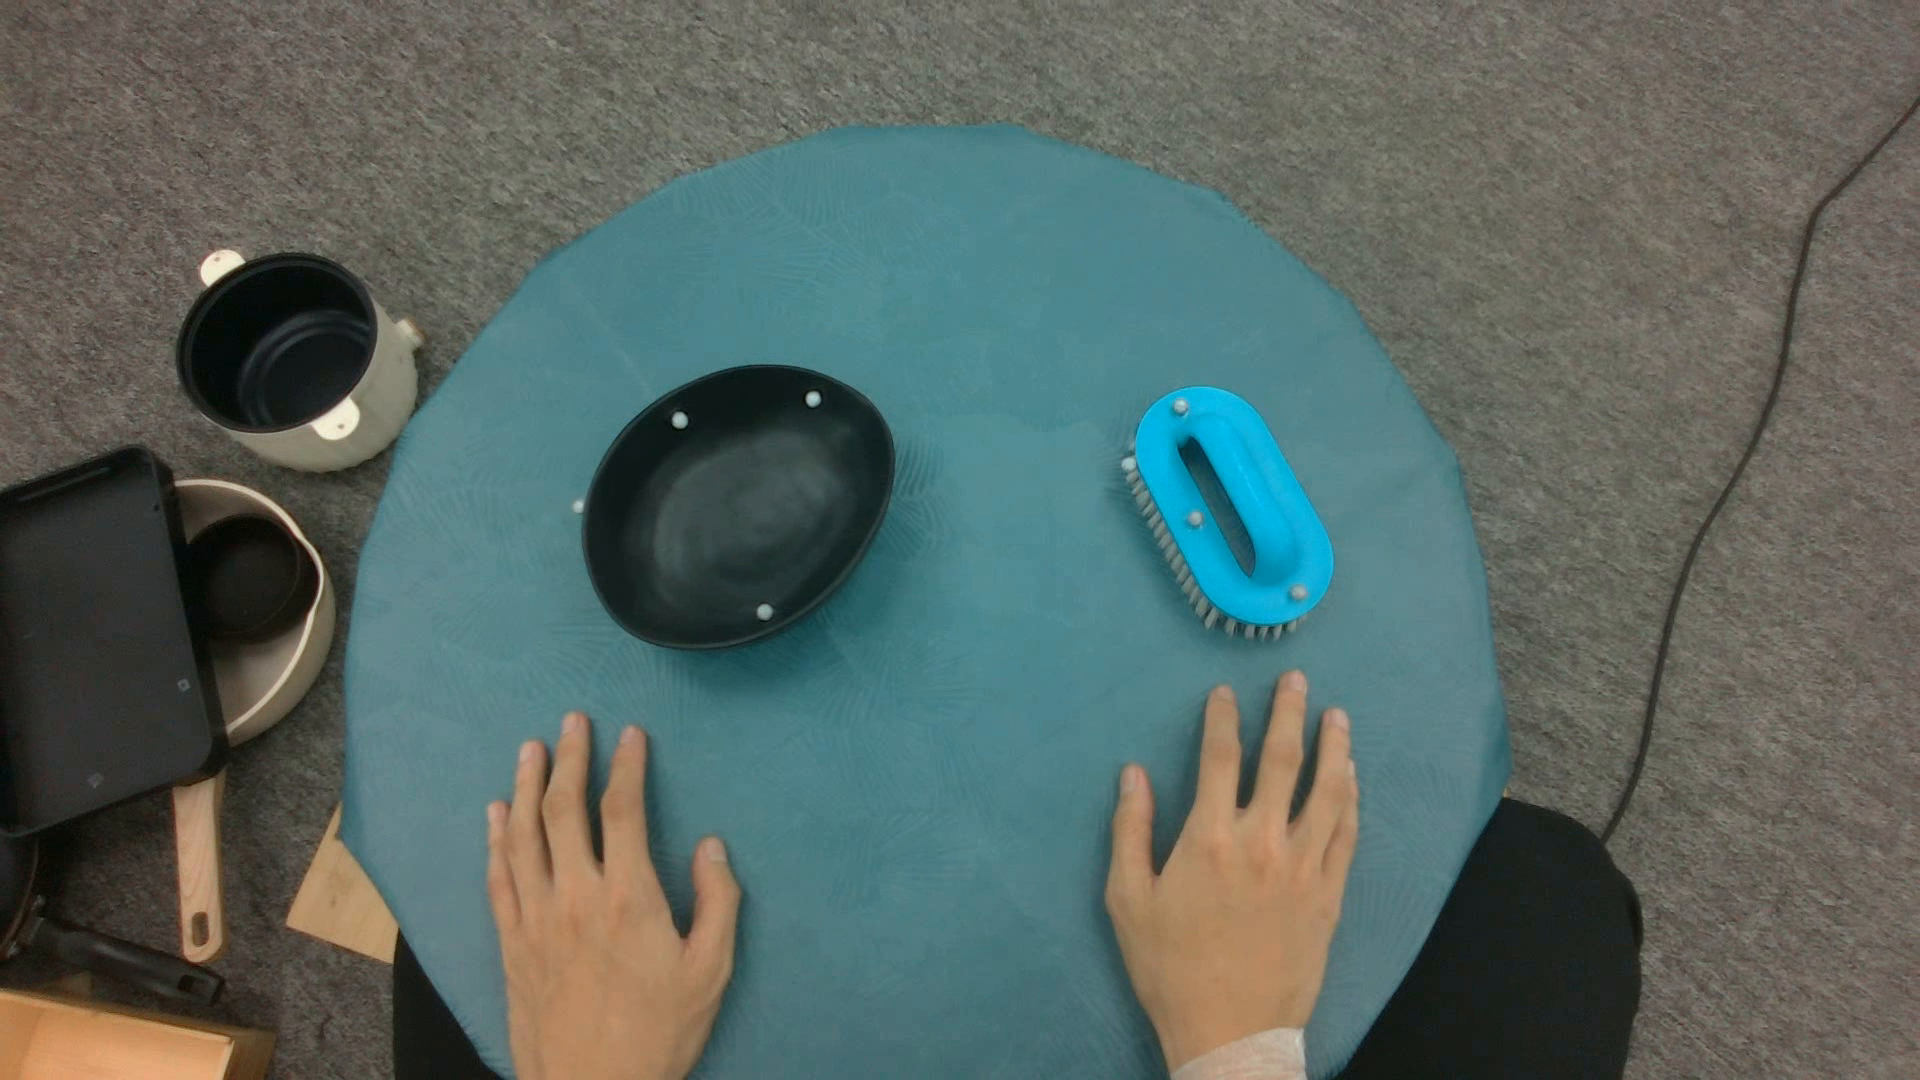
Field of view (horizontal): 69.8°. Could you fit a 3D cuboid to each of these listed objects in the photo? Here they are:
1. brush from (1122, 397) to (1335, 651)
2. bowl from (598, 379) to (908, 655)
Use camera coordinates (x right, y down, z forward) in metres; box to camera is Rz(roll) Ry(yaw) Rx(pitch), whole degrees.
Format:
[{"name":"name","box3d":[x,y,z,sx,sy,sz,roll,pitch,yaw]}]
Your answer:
[{"name":"brush","box3d":[0.144,-0.016,0.720,0.084,0.063,0.142,-19,72,-11]},{"name":"bowl","box3d":[-0.105,-0.009,0.723,0.137,0.066,0.171,43,75,13]}]
